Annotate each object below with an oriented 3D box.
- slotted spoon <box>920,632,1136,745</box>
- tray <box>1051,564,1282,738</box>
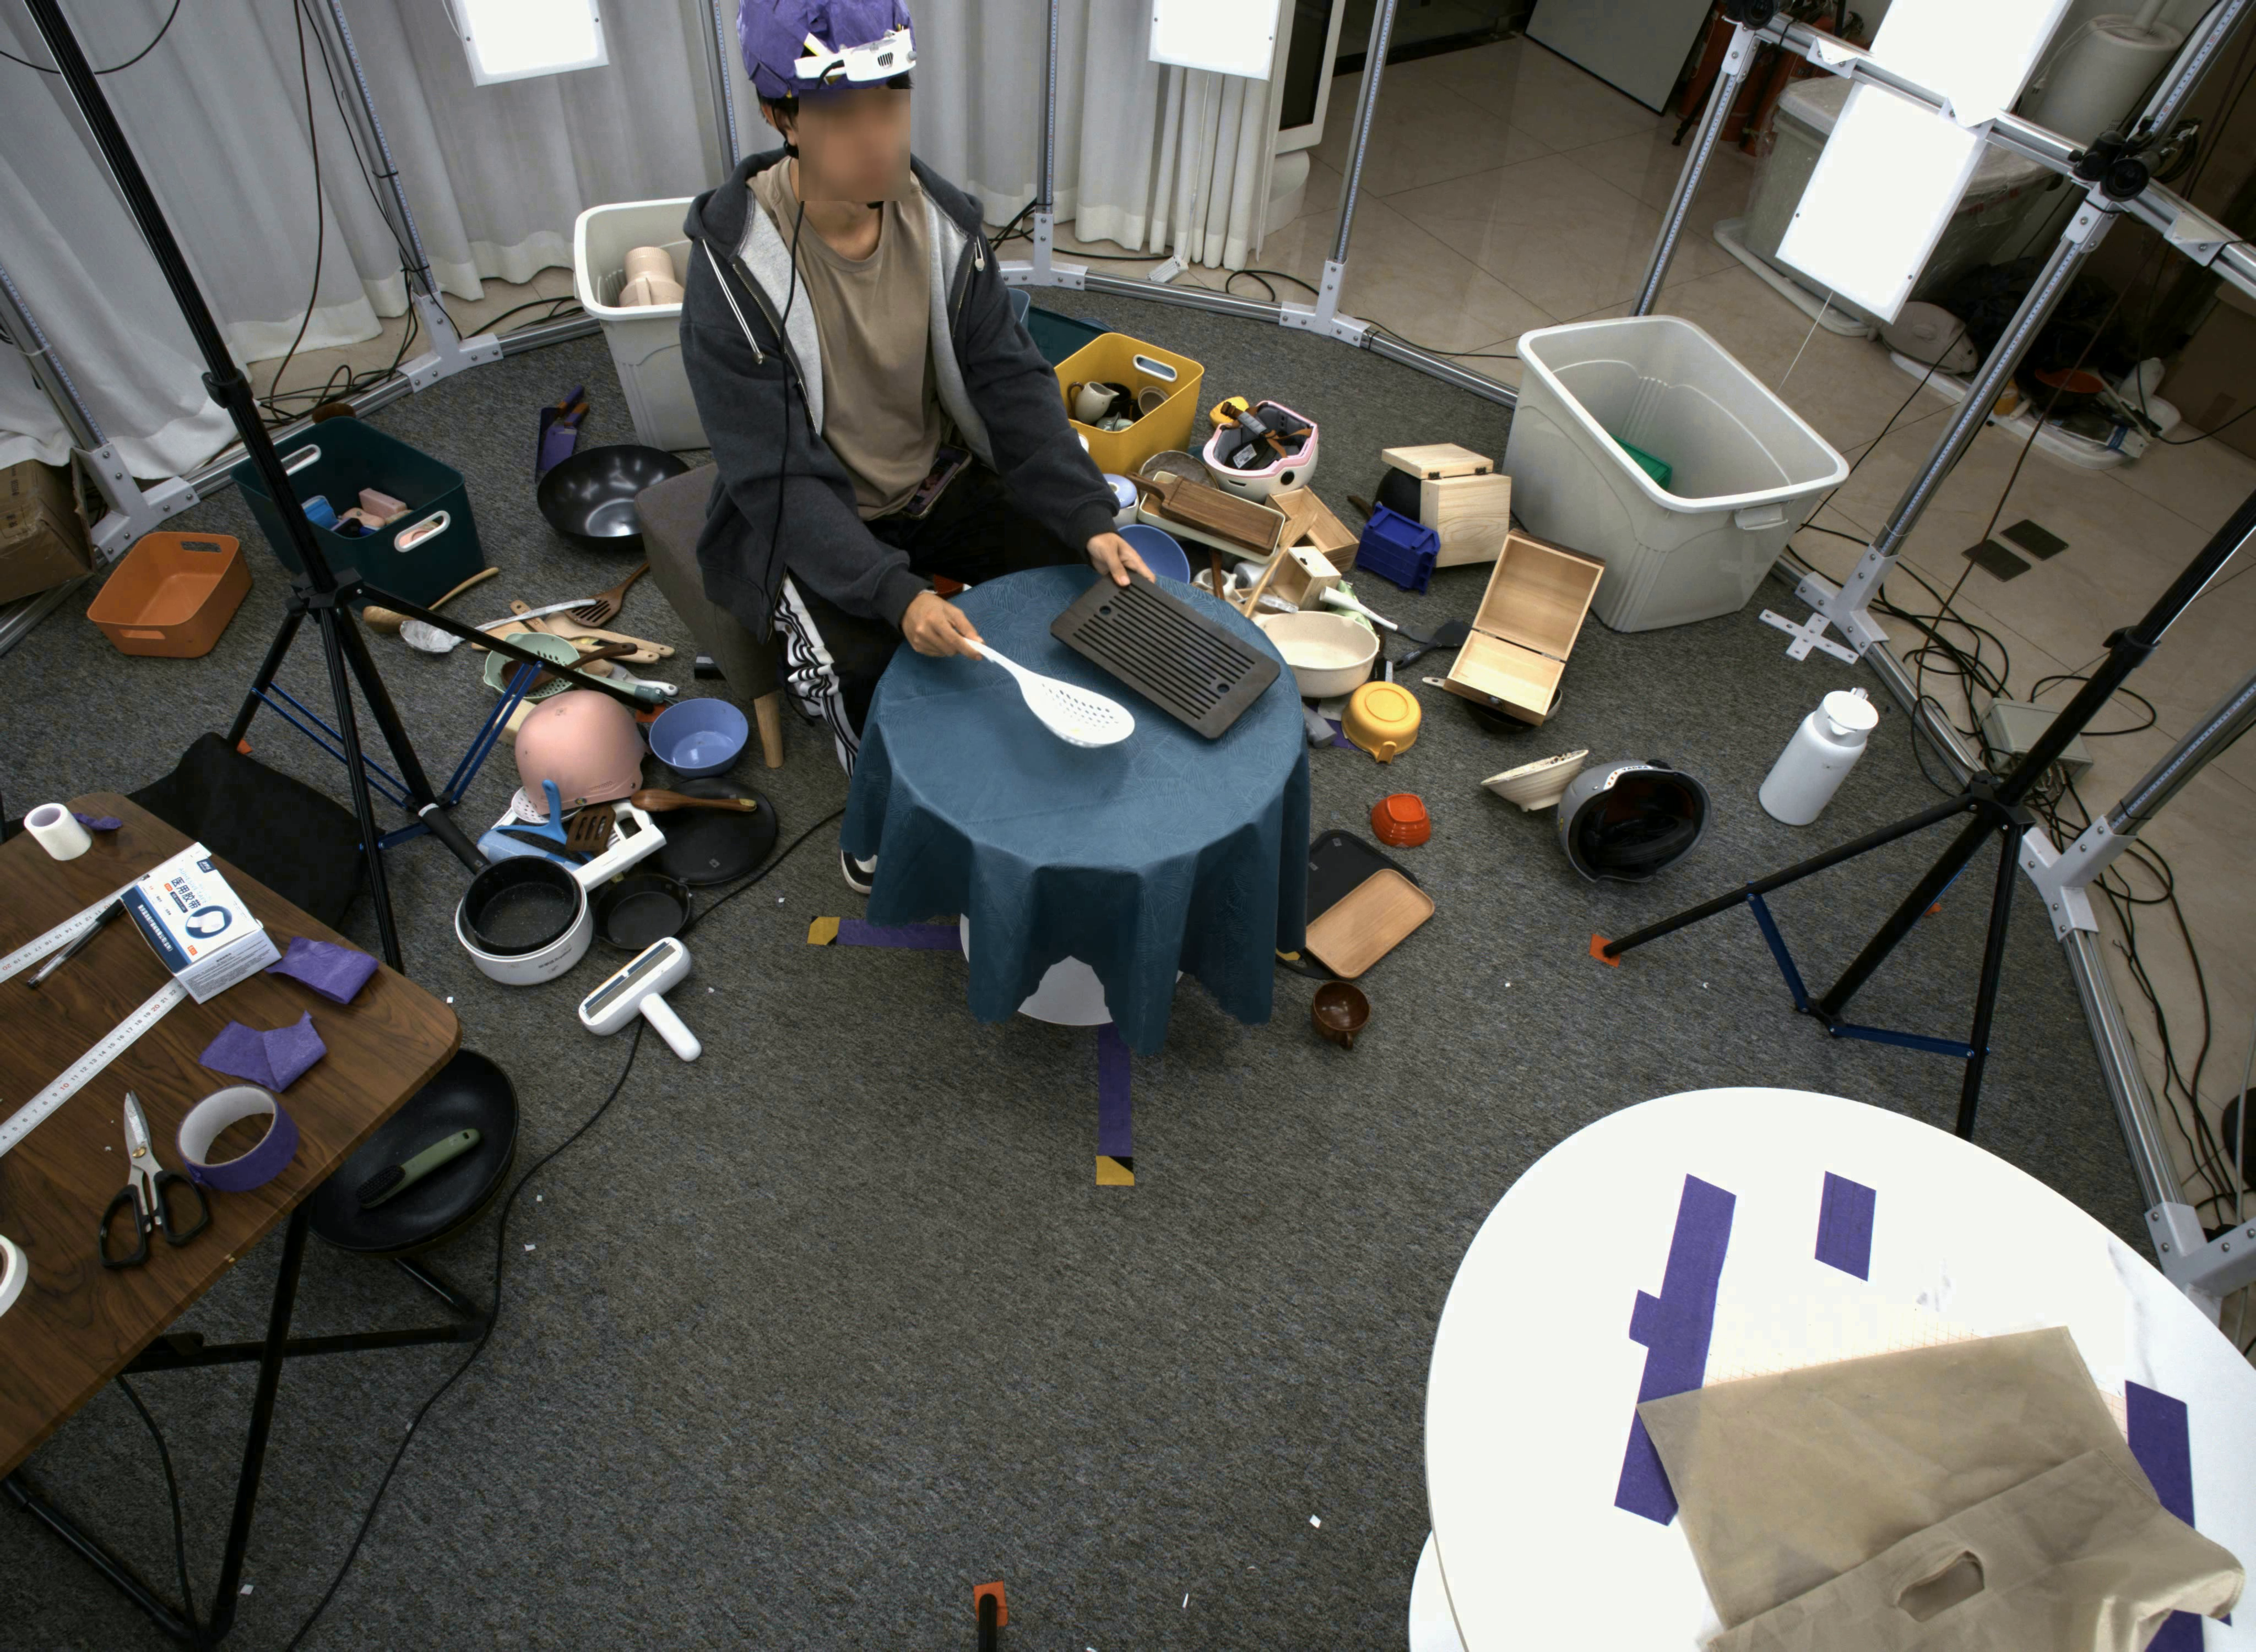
[{"bbox_3d":[-0.146,-0.199,1.754,0.352,0.049,0.138,35,36,21],"label":"slotted spoon"},{"bbox_3d":[0.054,-0.254,1.846,0.309,0.018,0.172,36,63,19],"label":"tray"}]
